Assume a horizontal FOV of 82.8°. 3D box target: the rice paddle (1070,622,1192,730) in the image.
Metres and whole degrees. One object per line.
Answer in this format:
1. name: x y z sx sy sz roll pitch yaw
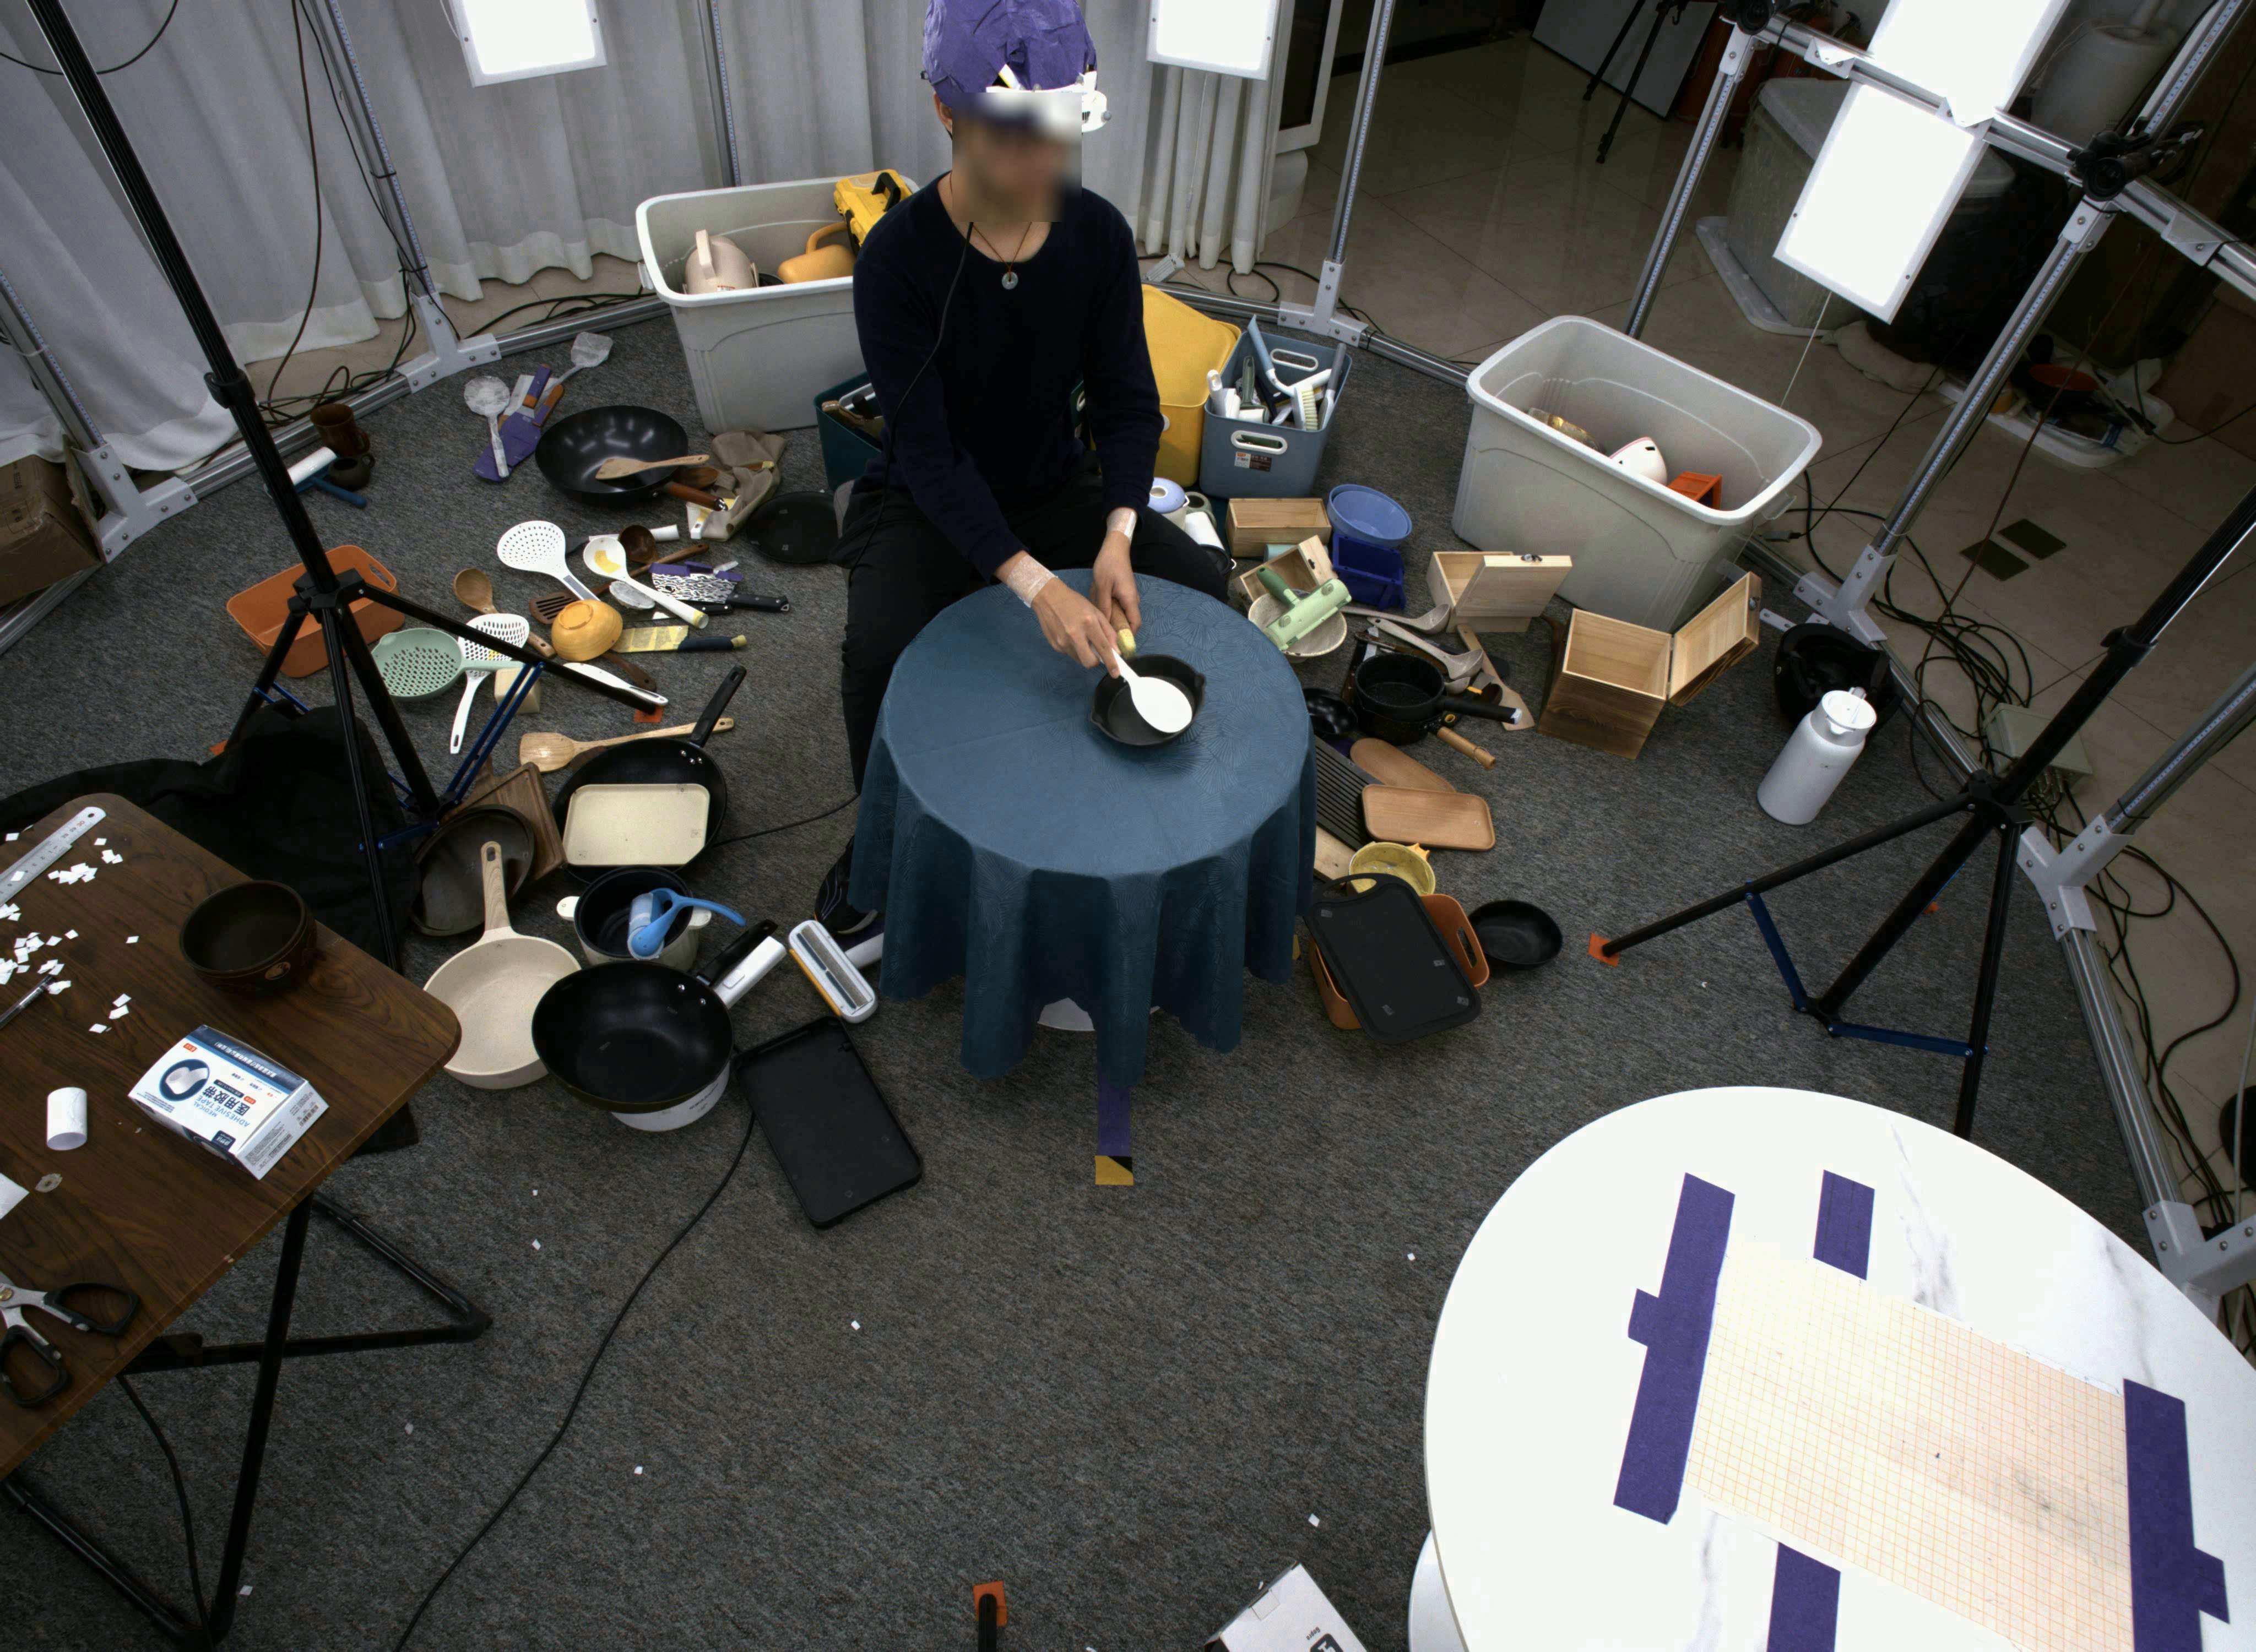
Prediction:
1. rice paddle: 0.006 -0.206 1.770 0.206 0.029 0.069 41 67 10

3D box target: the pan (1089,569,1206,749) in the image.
1. pan: 0.008 -0.239 1.819 0.169 0.048 0.332 -18 55 2
